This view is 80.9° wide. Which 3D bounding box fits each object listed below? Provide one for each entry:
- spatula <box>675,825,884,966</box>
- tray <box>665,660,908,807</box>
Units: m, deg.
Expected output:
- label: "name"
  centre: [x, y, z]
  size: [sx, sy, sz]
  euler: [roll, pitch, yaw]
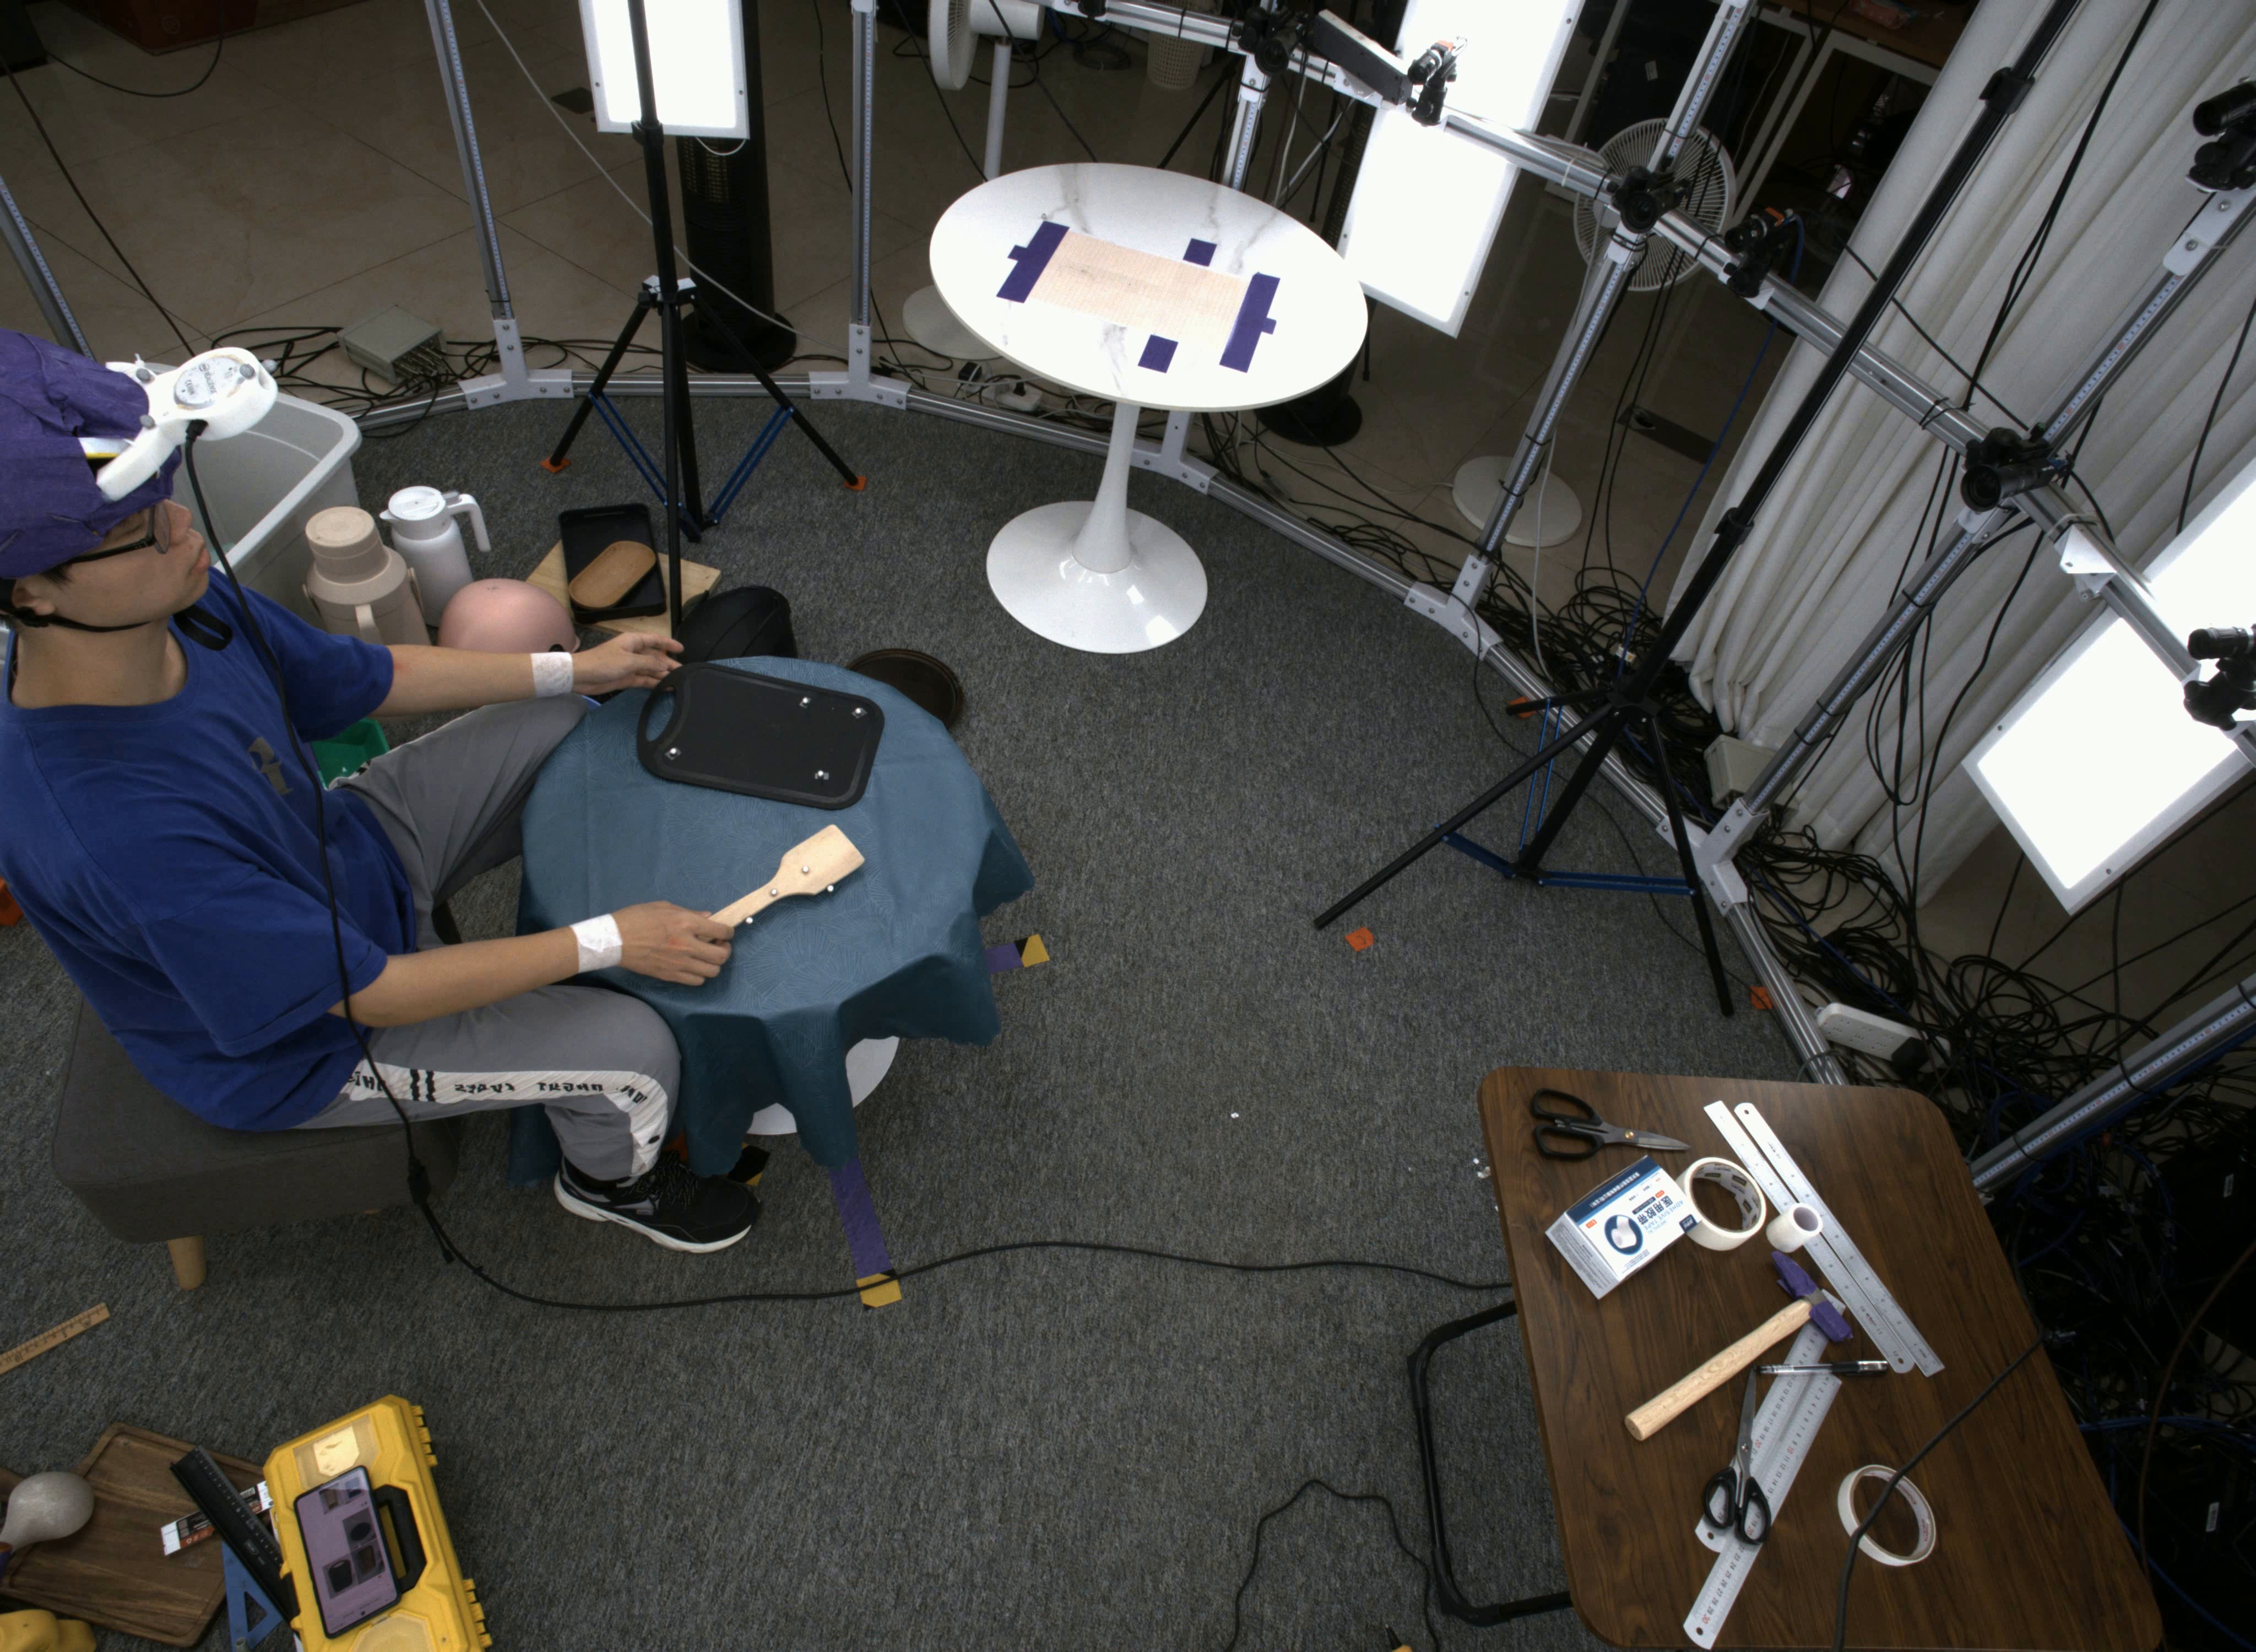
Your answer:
- label: "spatula"
  centre: [-0.440, 0.091, 1.630]
  size: [0.294, 0.011, 0.071]
  euler: [-34, 77, -34]
- label: "tray"
  centre: [-0.481, -0.134, 1.808]
  size: [0.324, 0.010, 0.208]
  euler: [13, 53, -7]
